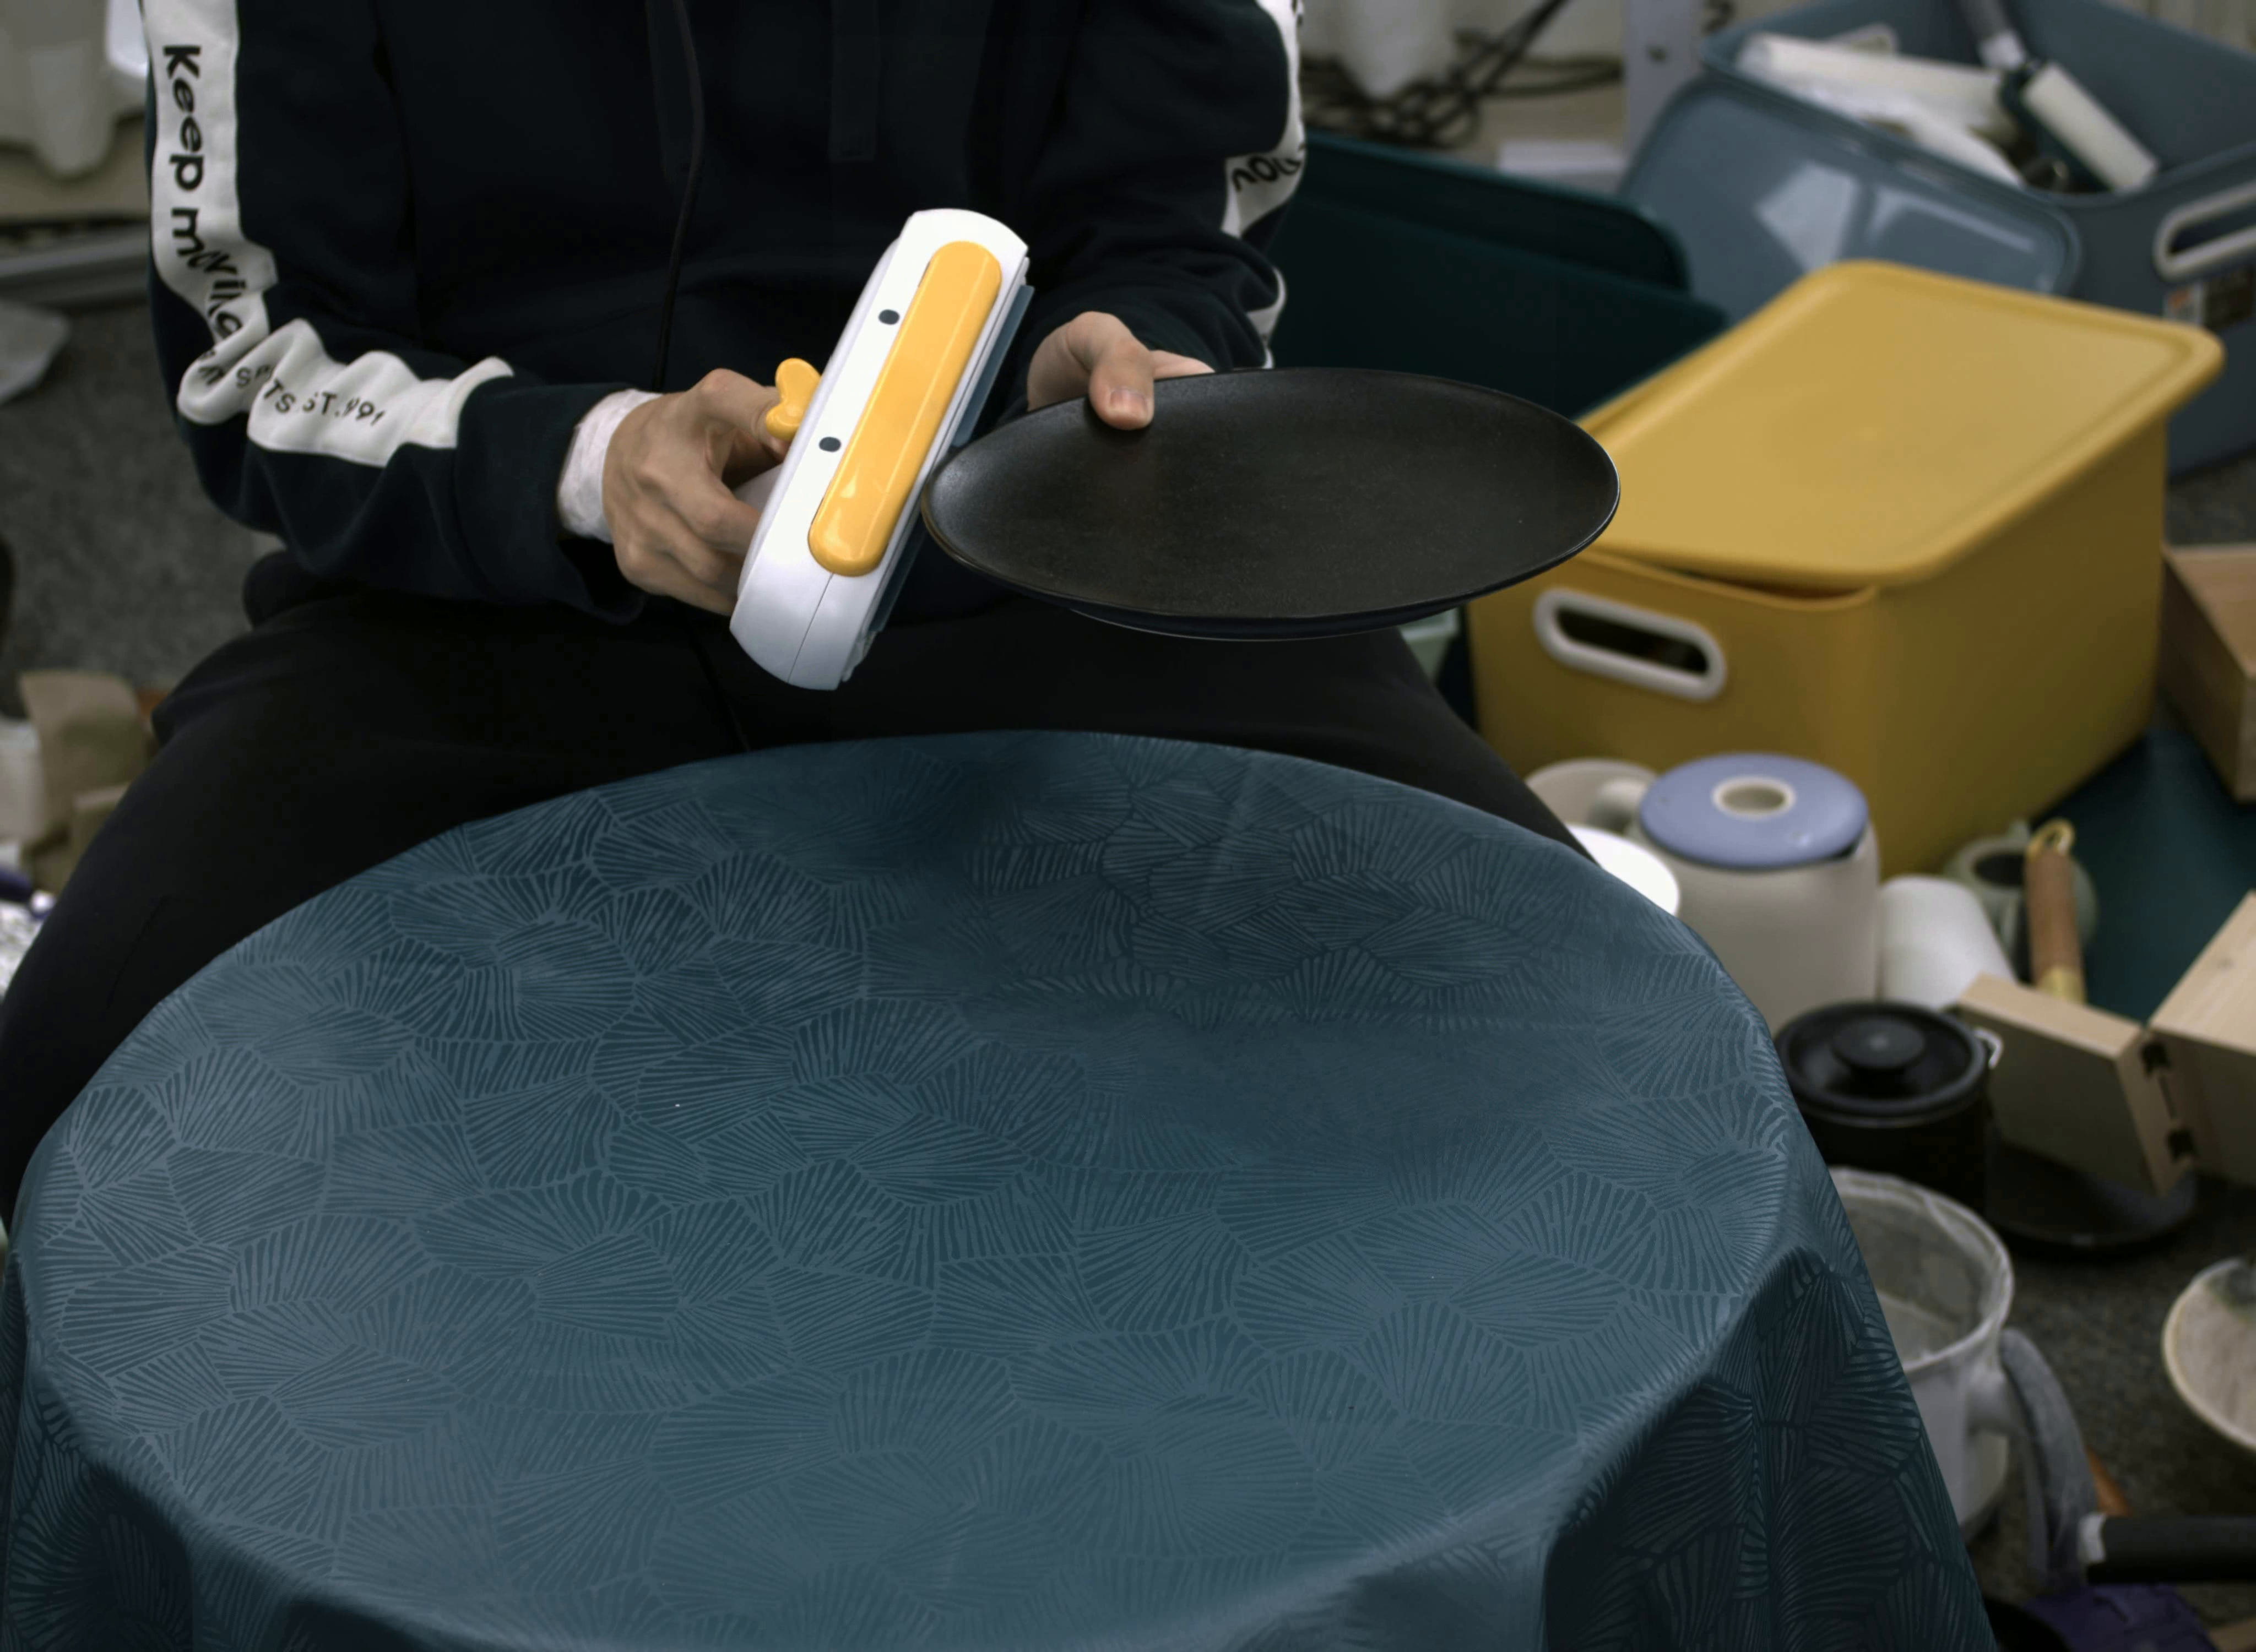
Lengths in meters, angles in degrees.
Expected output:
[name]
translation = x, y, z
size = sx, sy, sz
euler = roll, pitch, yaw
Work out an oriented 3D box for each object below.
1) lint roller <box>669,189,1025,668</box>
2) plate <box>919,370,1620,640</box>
[lint roller]
translation = -0.113, -0.122, 2.066
size = 0.074, 0.189, 0.197
euler = 23, 58, -12
[plate]
translation = 0.049, -0.108, 1.959
size = 0.243, 0.023, 0.247
euler = -1, 23, 1
